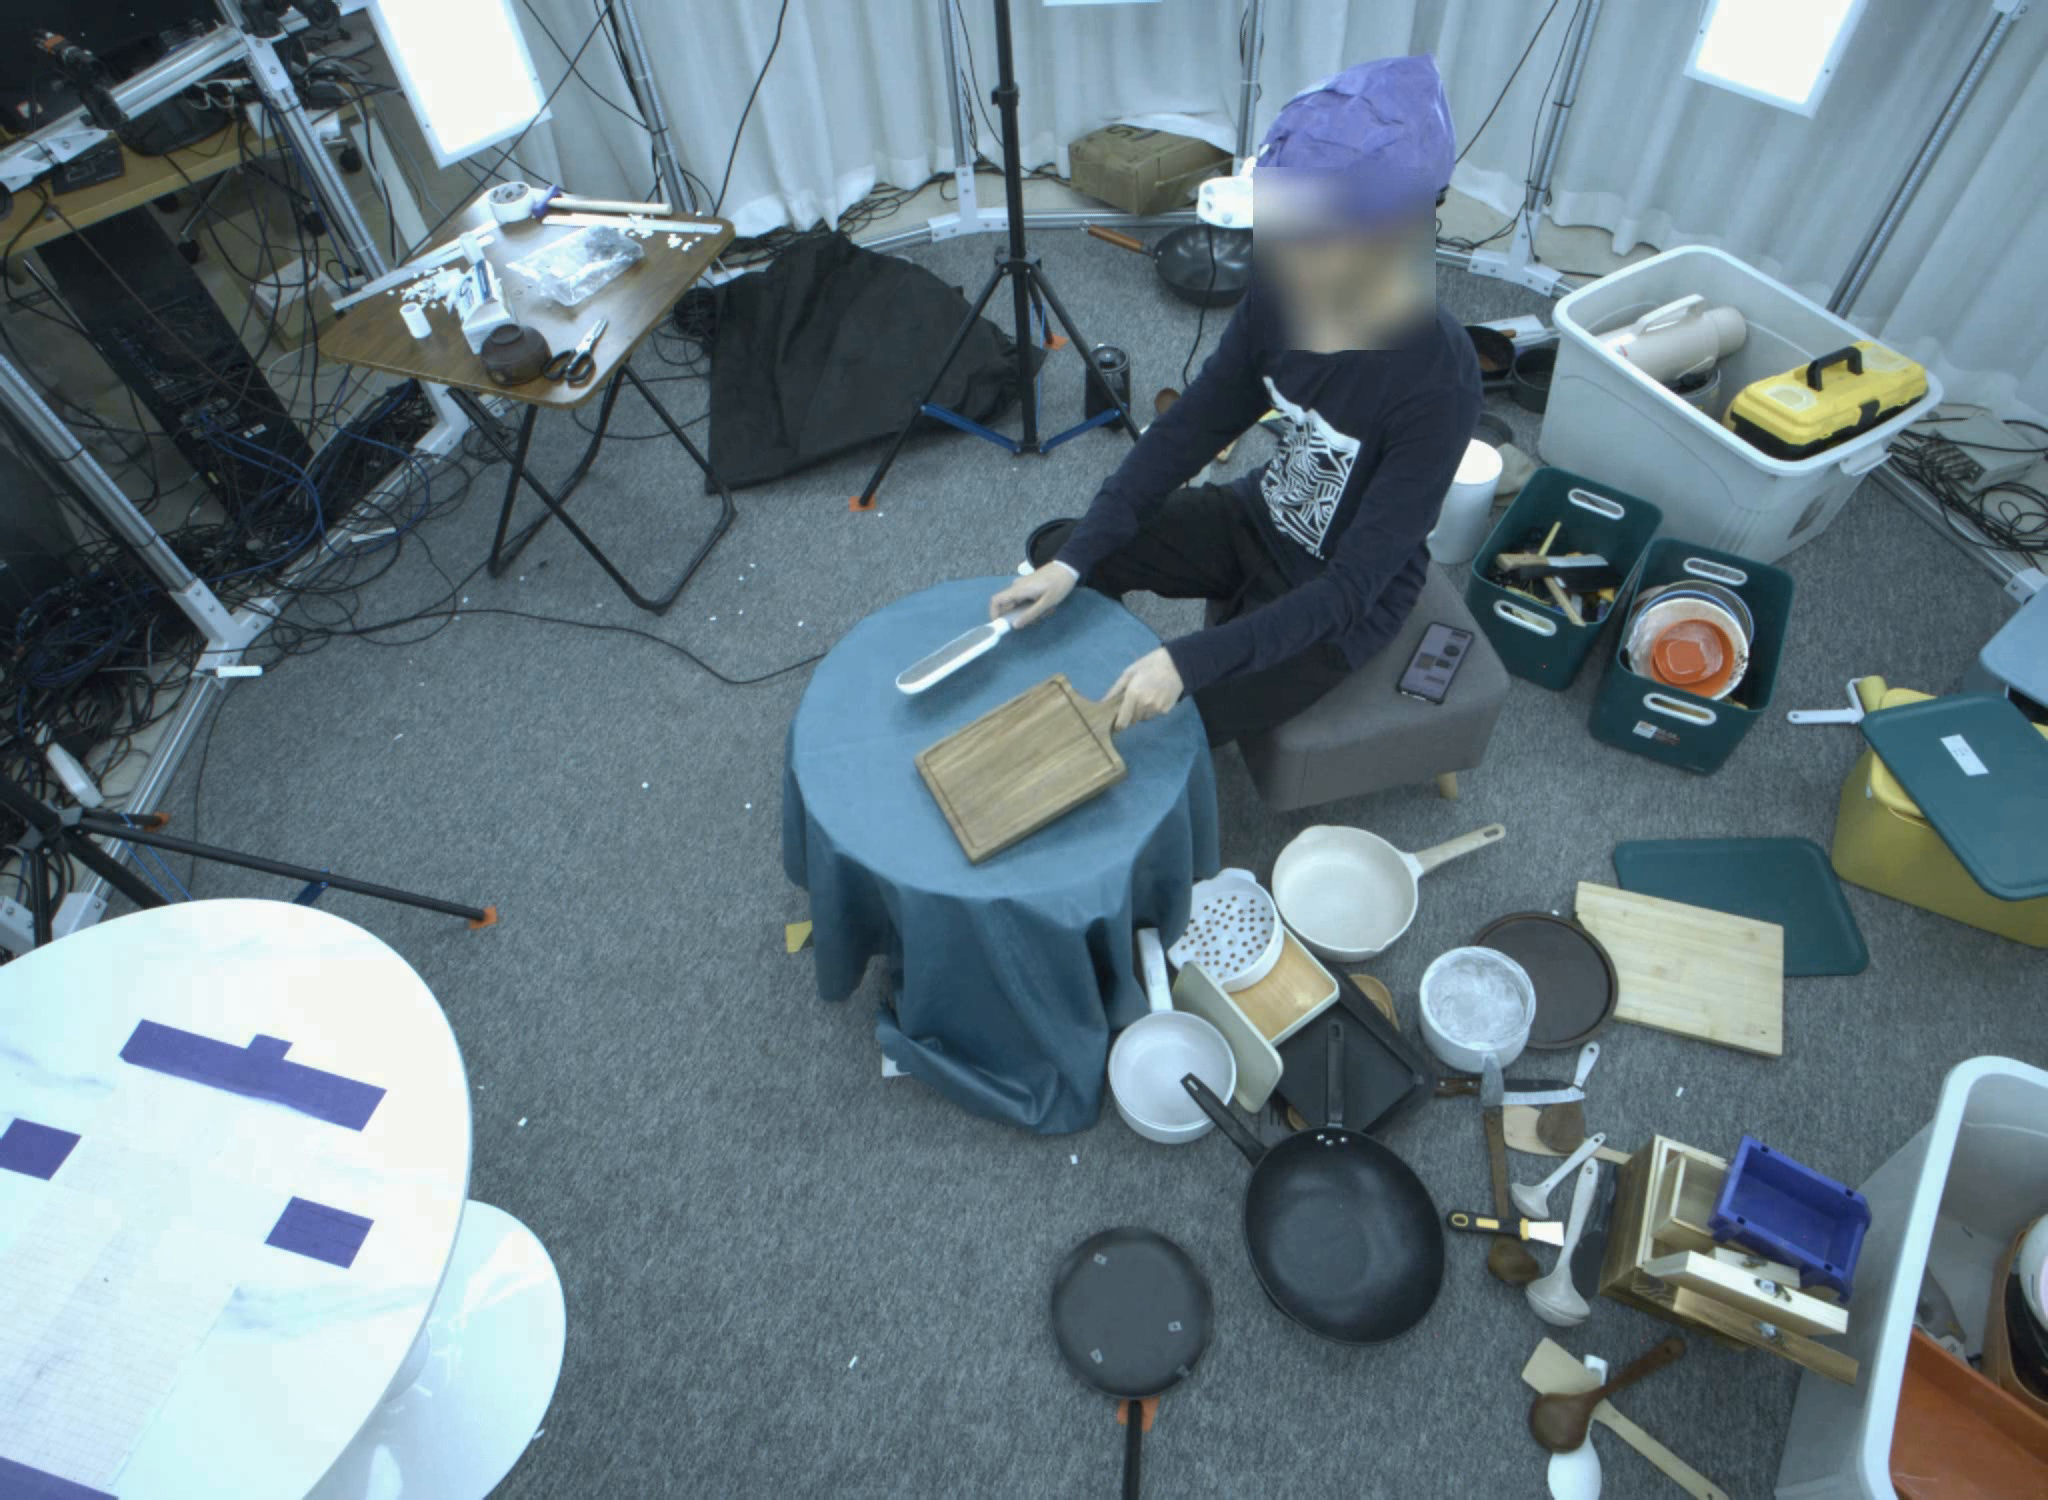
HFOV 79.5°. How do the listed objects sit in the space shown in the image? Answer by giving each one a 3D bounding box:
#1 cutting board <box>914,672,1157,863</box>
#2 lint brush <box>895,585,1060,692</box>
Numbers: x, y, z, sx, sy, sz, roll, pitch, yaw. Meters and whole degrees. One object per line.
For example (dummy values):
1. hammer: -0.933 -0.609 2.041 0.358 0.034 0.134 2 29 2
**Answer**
1. cutting board: 0.035 -0.004 1.740 0.353 0.023 0.197 -30 60 -6
2. lint brush: -0.066 -0.171 1.862 0.311 0.021 0.058 -34 31 -22
